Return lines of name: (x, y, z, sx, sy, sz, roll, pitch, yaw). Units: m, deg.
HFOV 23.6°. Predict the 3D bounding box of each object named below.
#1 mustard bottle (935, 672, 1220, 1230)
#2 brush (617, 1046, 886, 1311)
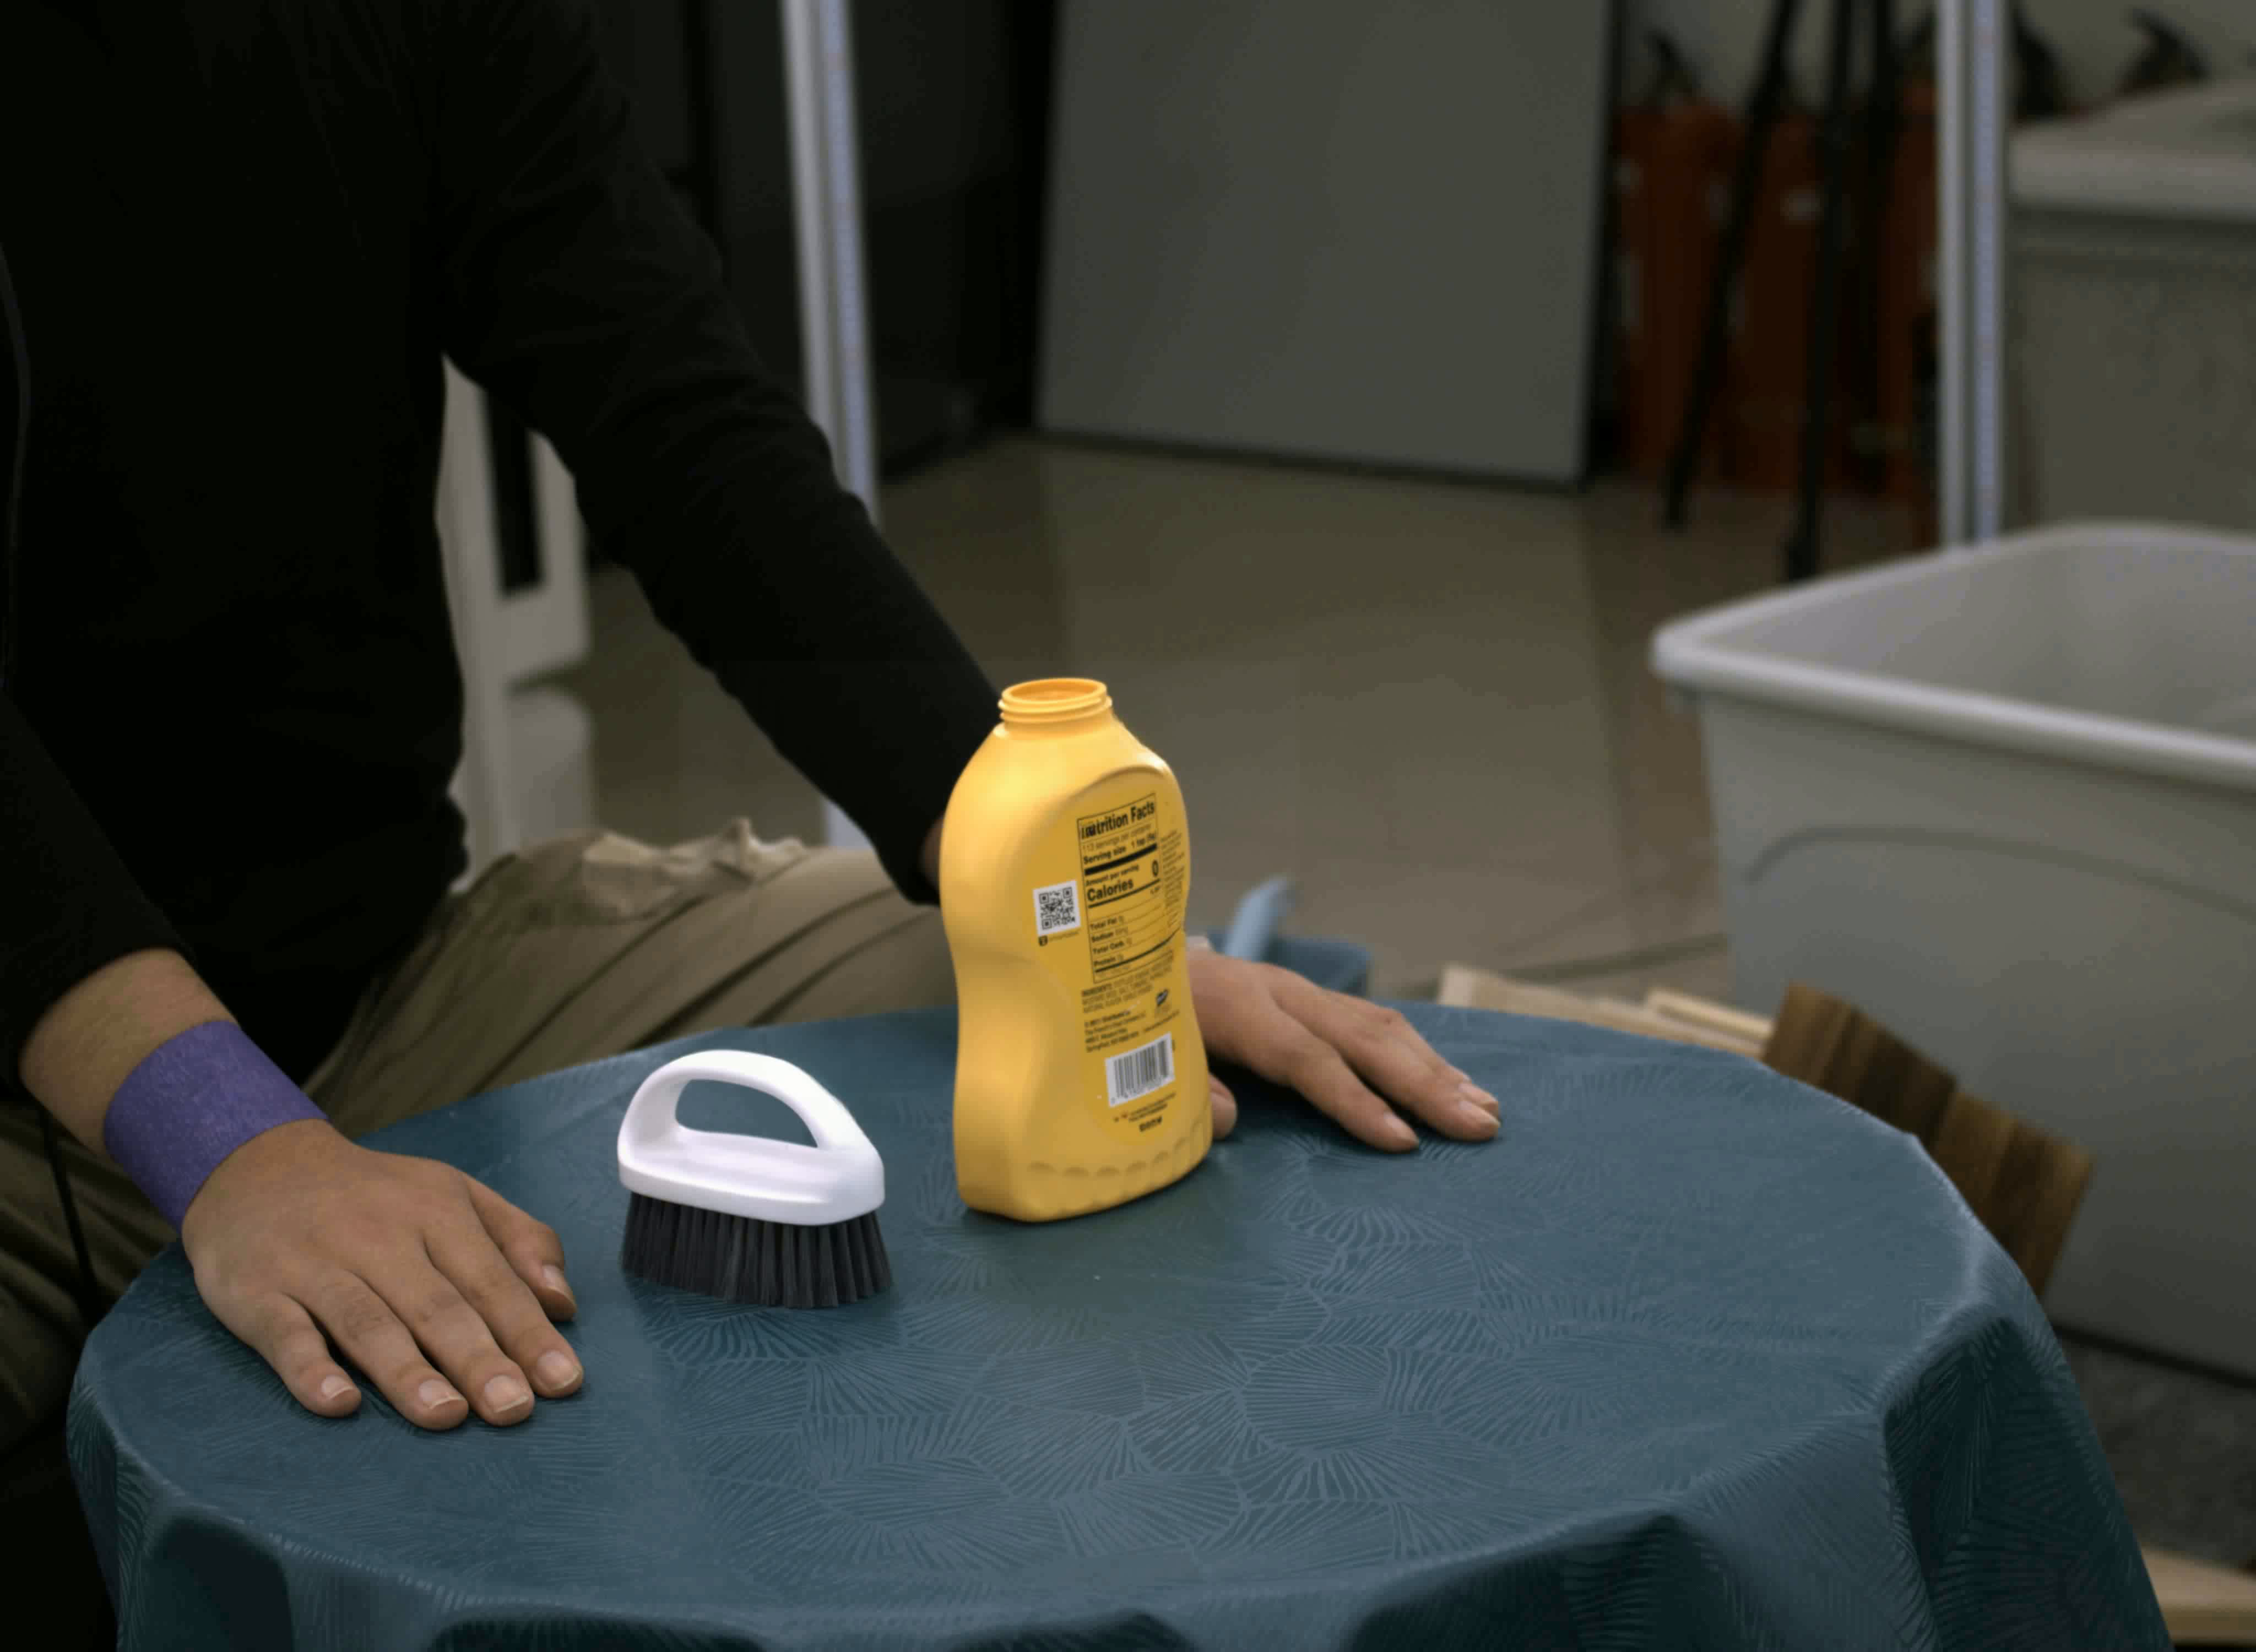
mustard bottle: (-0.019, 0.038, 1.756, 0.060, 0.174, 0.096, 5, 17, 43)
brush: (-0.120, 0.107, 1.704, 0.100, 0.073, 0.049, 9, 17, 41)
